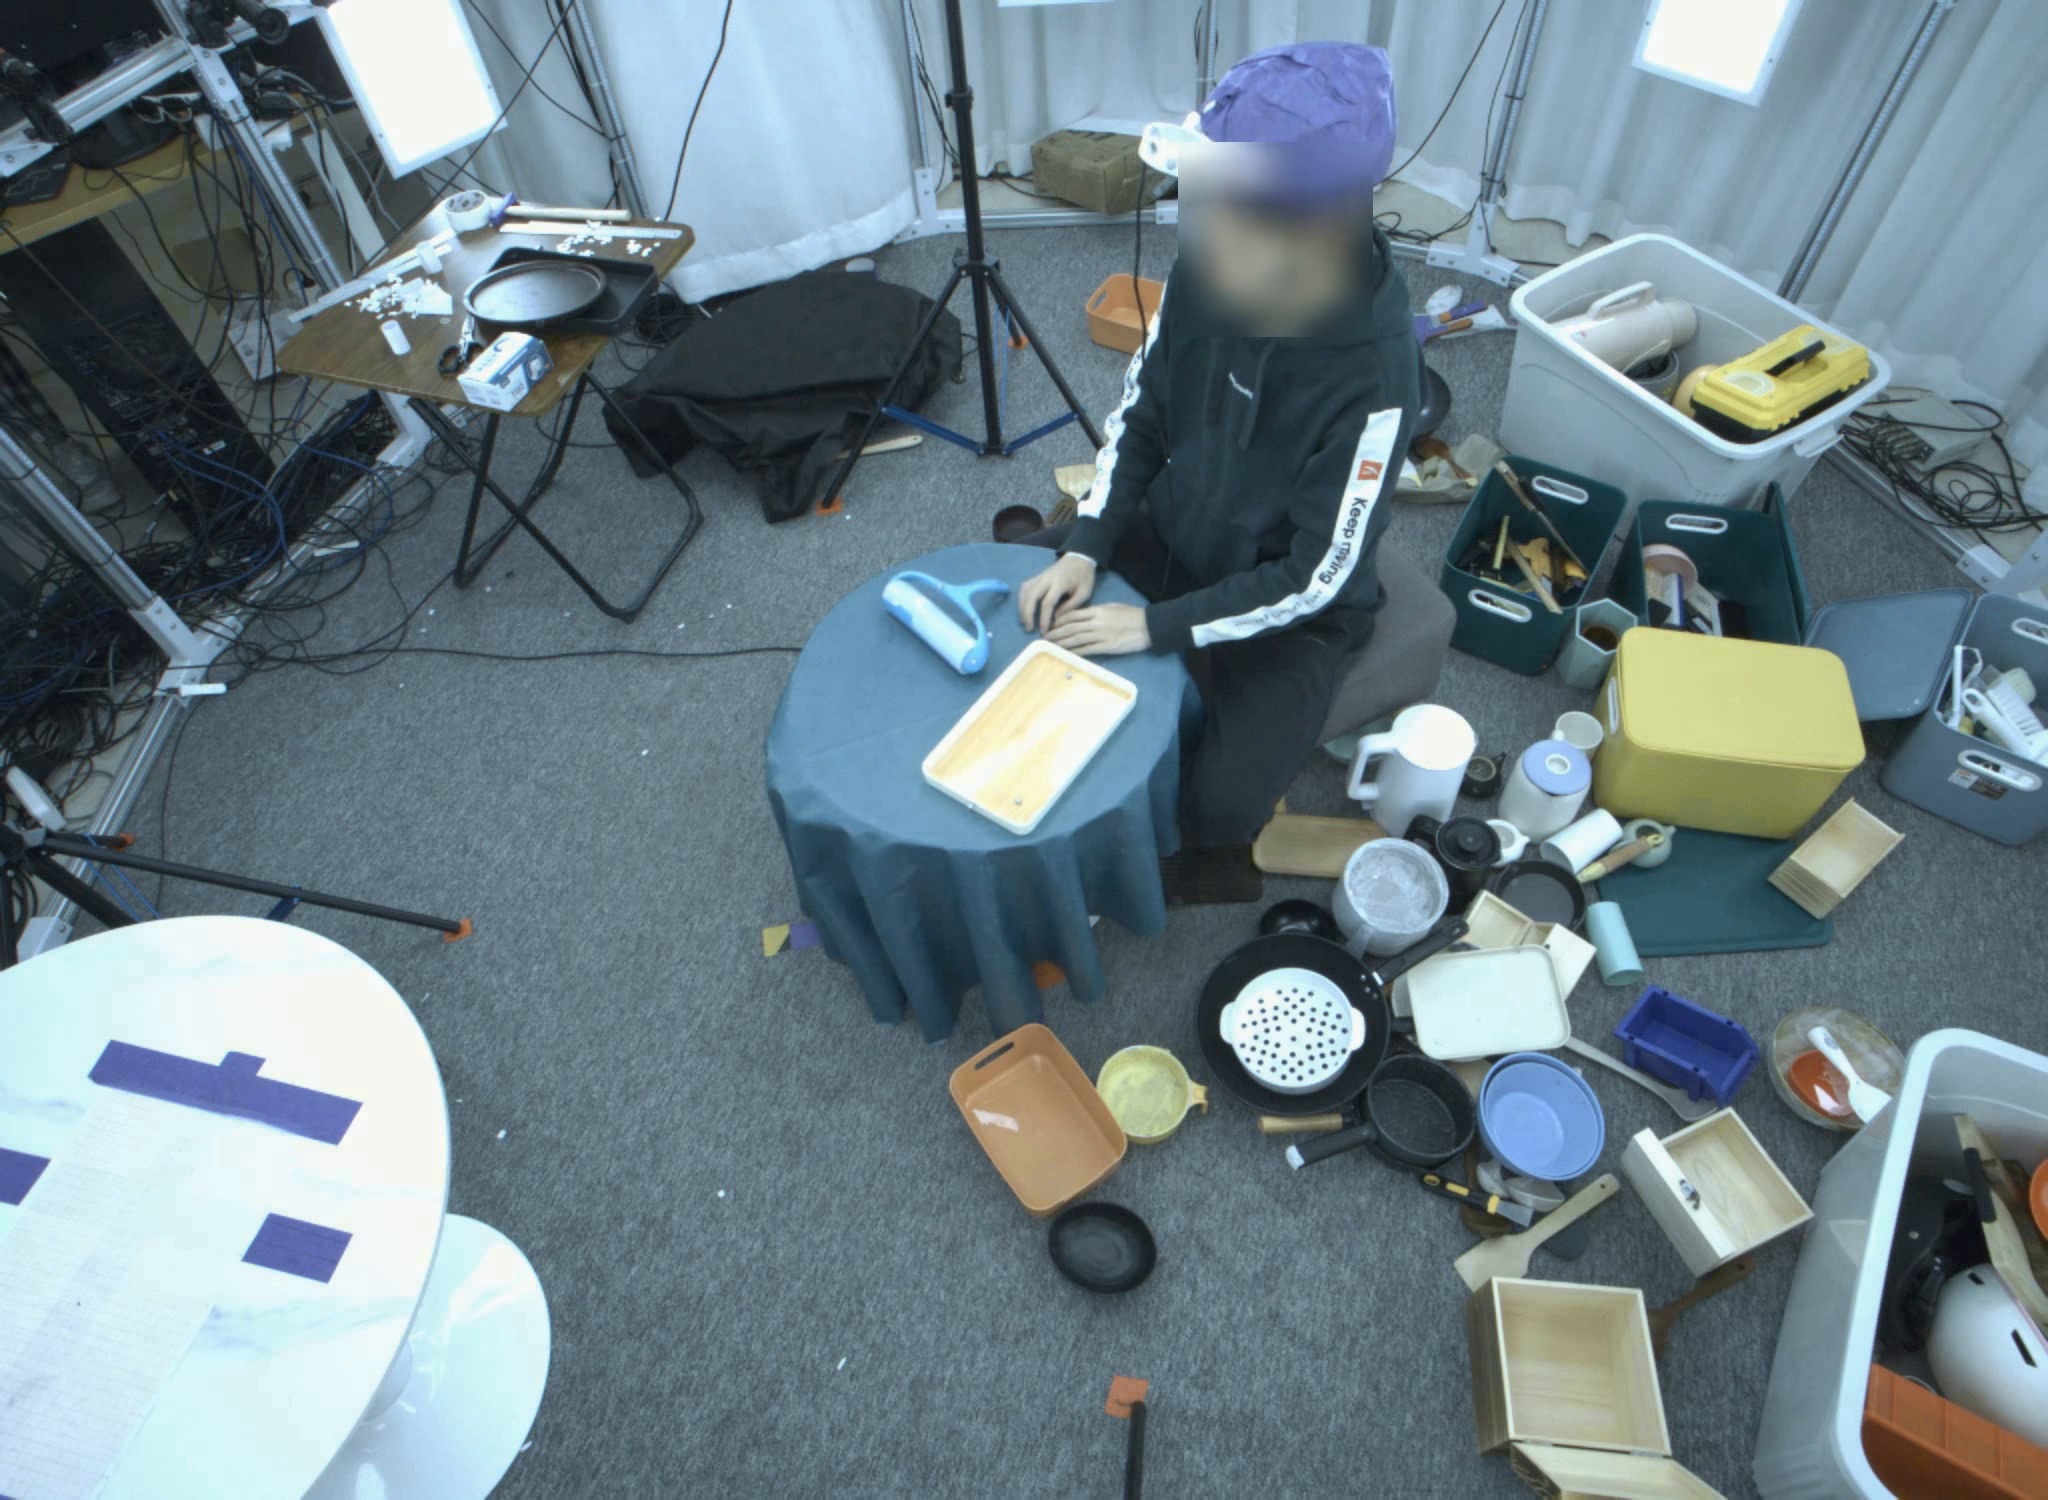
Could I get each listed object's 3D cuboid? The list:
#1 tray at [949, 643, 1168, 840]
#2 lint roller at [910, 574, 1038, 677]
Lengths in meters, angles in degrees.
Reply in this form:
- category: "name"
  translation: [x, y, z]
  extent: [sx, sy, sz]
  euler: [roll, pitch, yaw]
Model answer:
- category: "tray"
  translation: [0.052, -0.018, 1.778]
  extent: [0.188, 0.028, 0.302]
  euler: [31, 61, 22]
- category: "lint roller"
  translation: [-0.054, -0.222, 1.909]
  extent: [0.181, 0.069, 0.224]
  euler: [-39, 60, -22]
